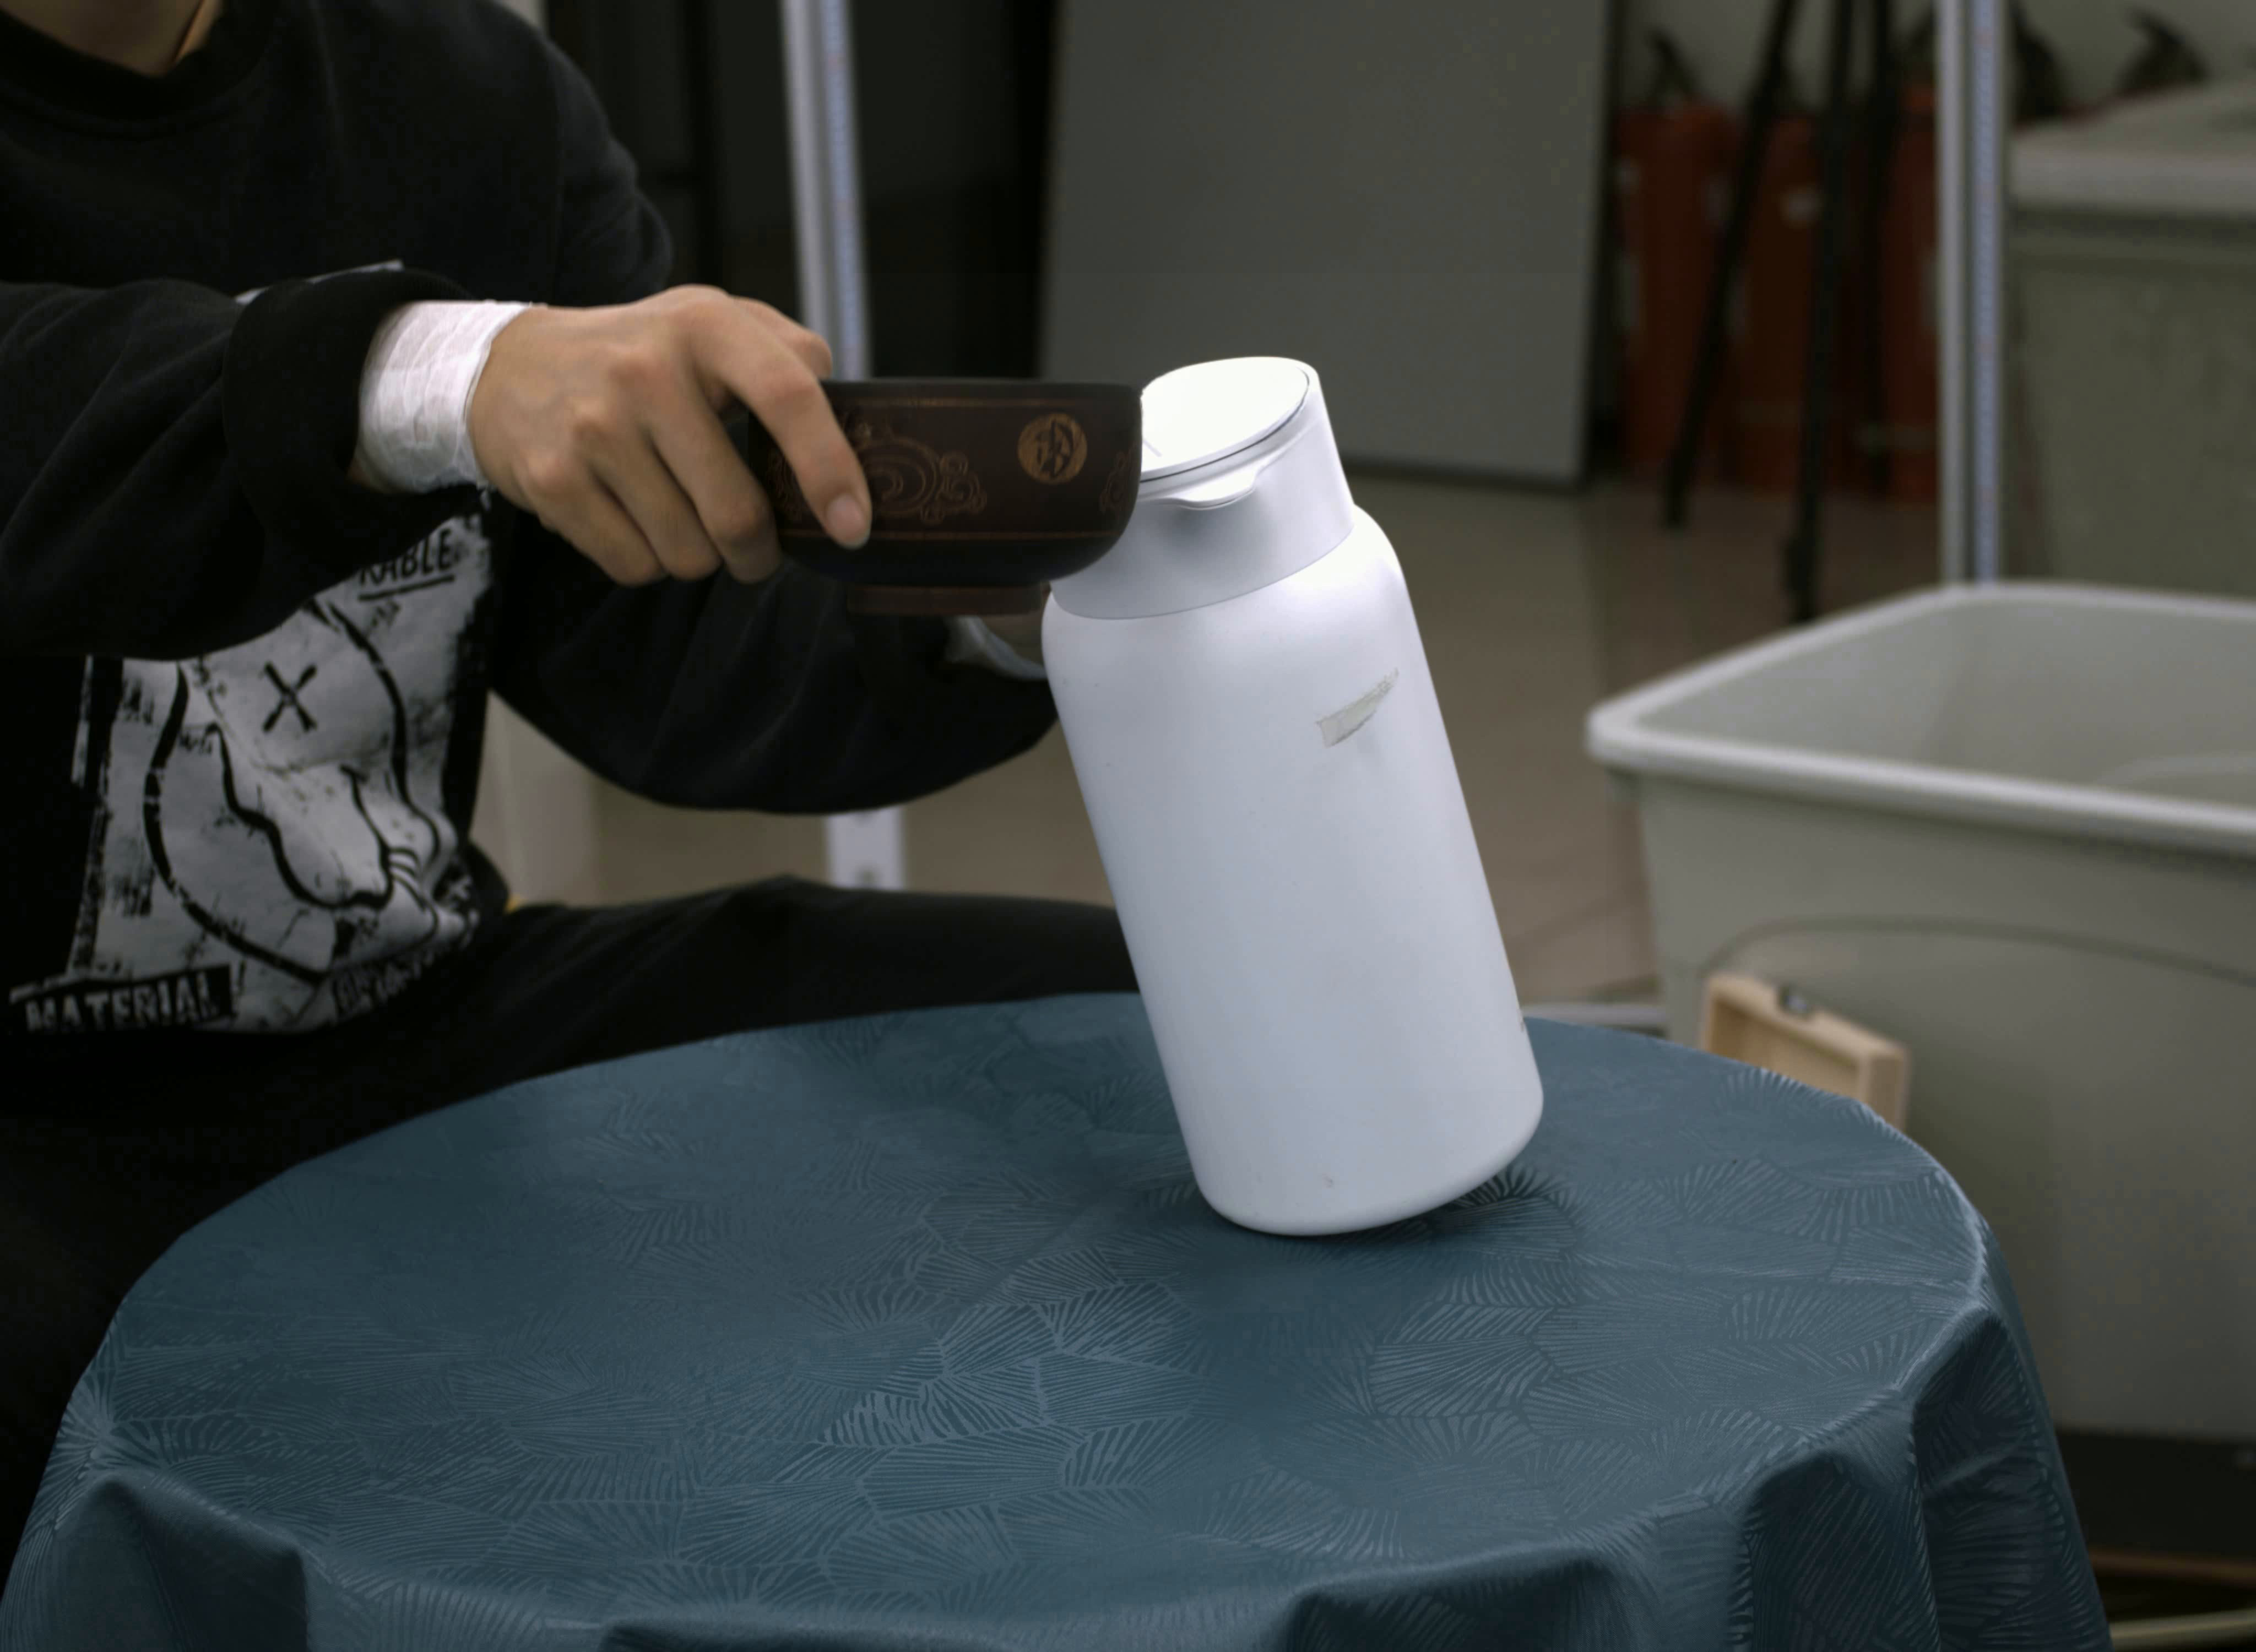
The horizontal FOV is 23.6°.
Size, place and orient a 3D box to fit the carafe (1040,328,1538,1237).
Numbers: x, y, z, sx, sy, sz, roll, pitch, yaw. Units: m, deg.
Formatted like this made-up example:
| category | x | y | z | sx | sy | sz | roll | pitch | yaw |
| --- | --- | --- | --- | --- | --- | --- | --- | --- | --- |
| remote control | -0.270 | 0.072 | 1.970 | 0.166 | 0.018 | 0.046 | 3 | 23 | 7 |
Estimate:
| category | x | y | z | sx | sy | sz | roll | pitch | yaw |
| --- | --- | --- | --- | --- | --- | --- | --- | --- | --- |
| carafe | 0.040 | -0.016 | 1.724 | 0.122 | 0.270 | 0.174 | -21 | 20 | -8 |

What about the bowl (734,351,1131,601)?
| category | x | y | z | sx | sy | sz | roll | pitch | yaw |
| --- | --- | --- | --- | --- | --- | --- | --- | --- | --- |
| bowl | -0.057 | -0.102 | 1.575 | 0.116 | 0.071 | 0.118 | 1 | 5 | -1 |
